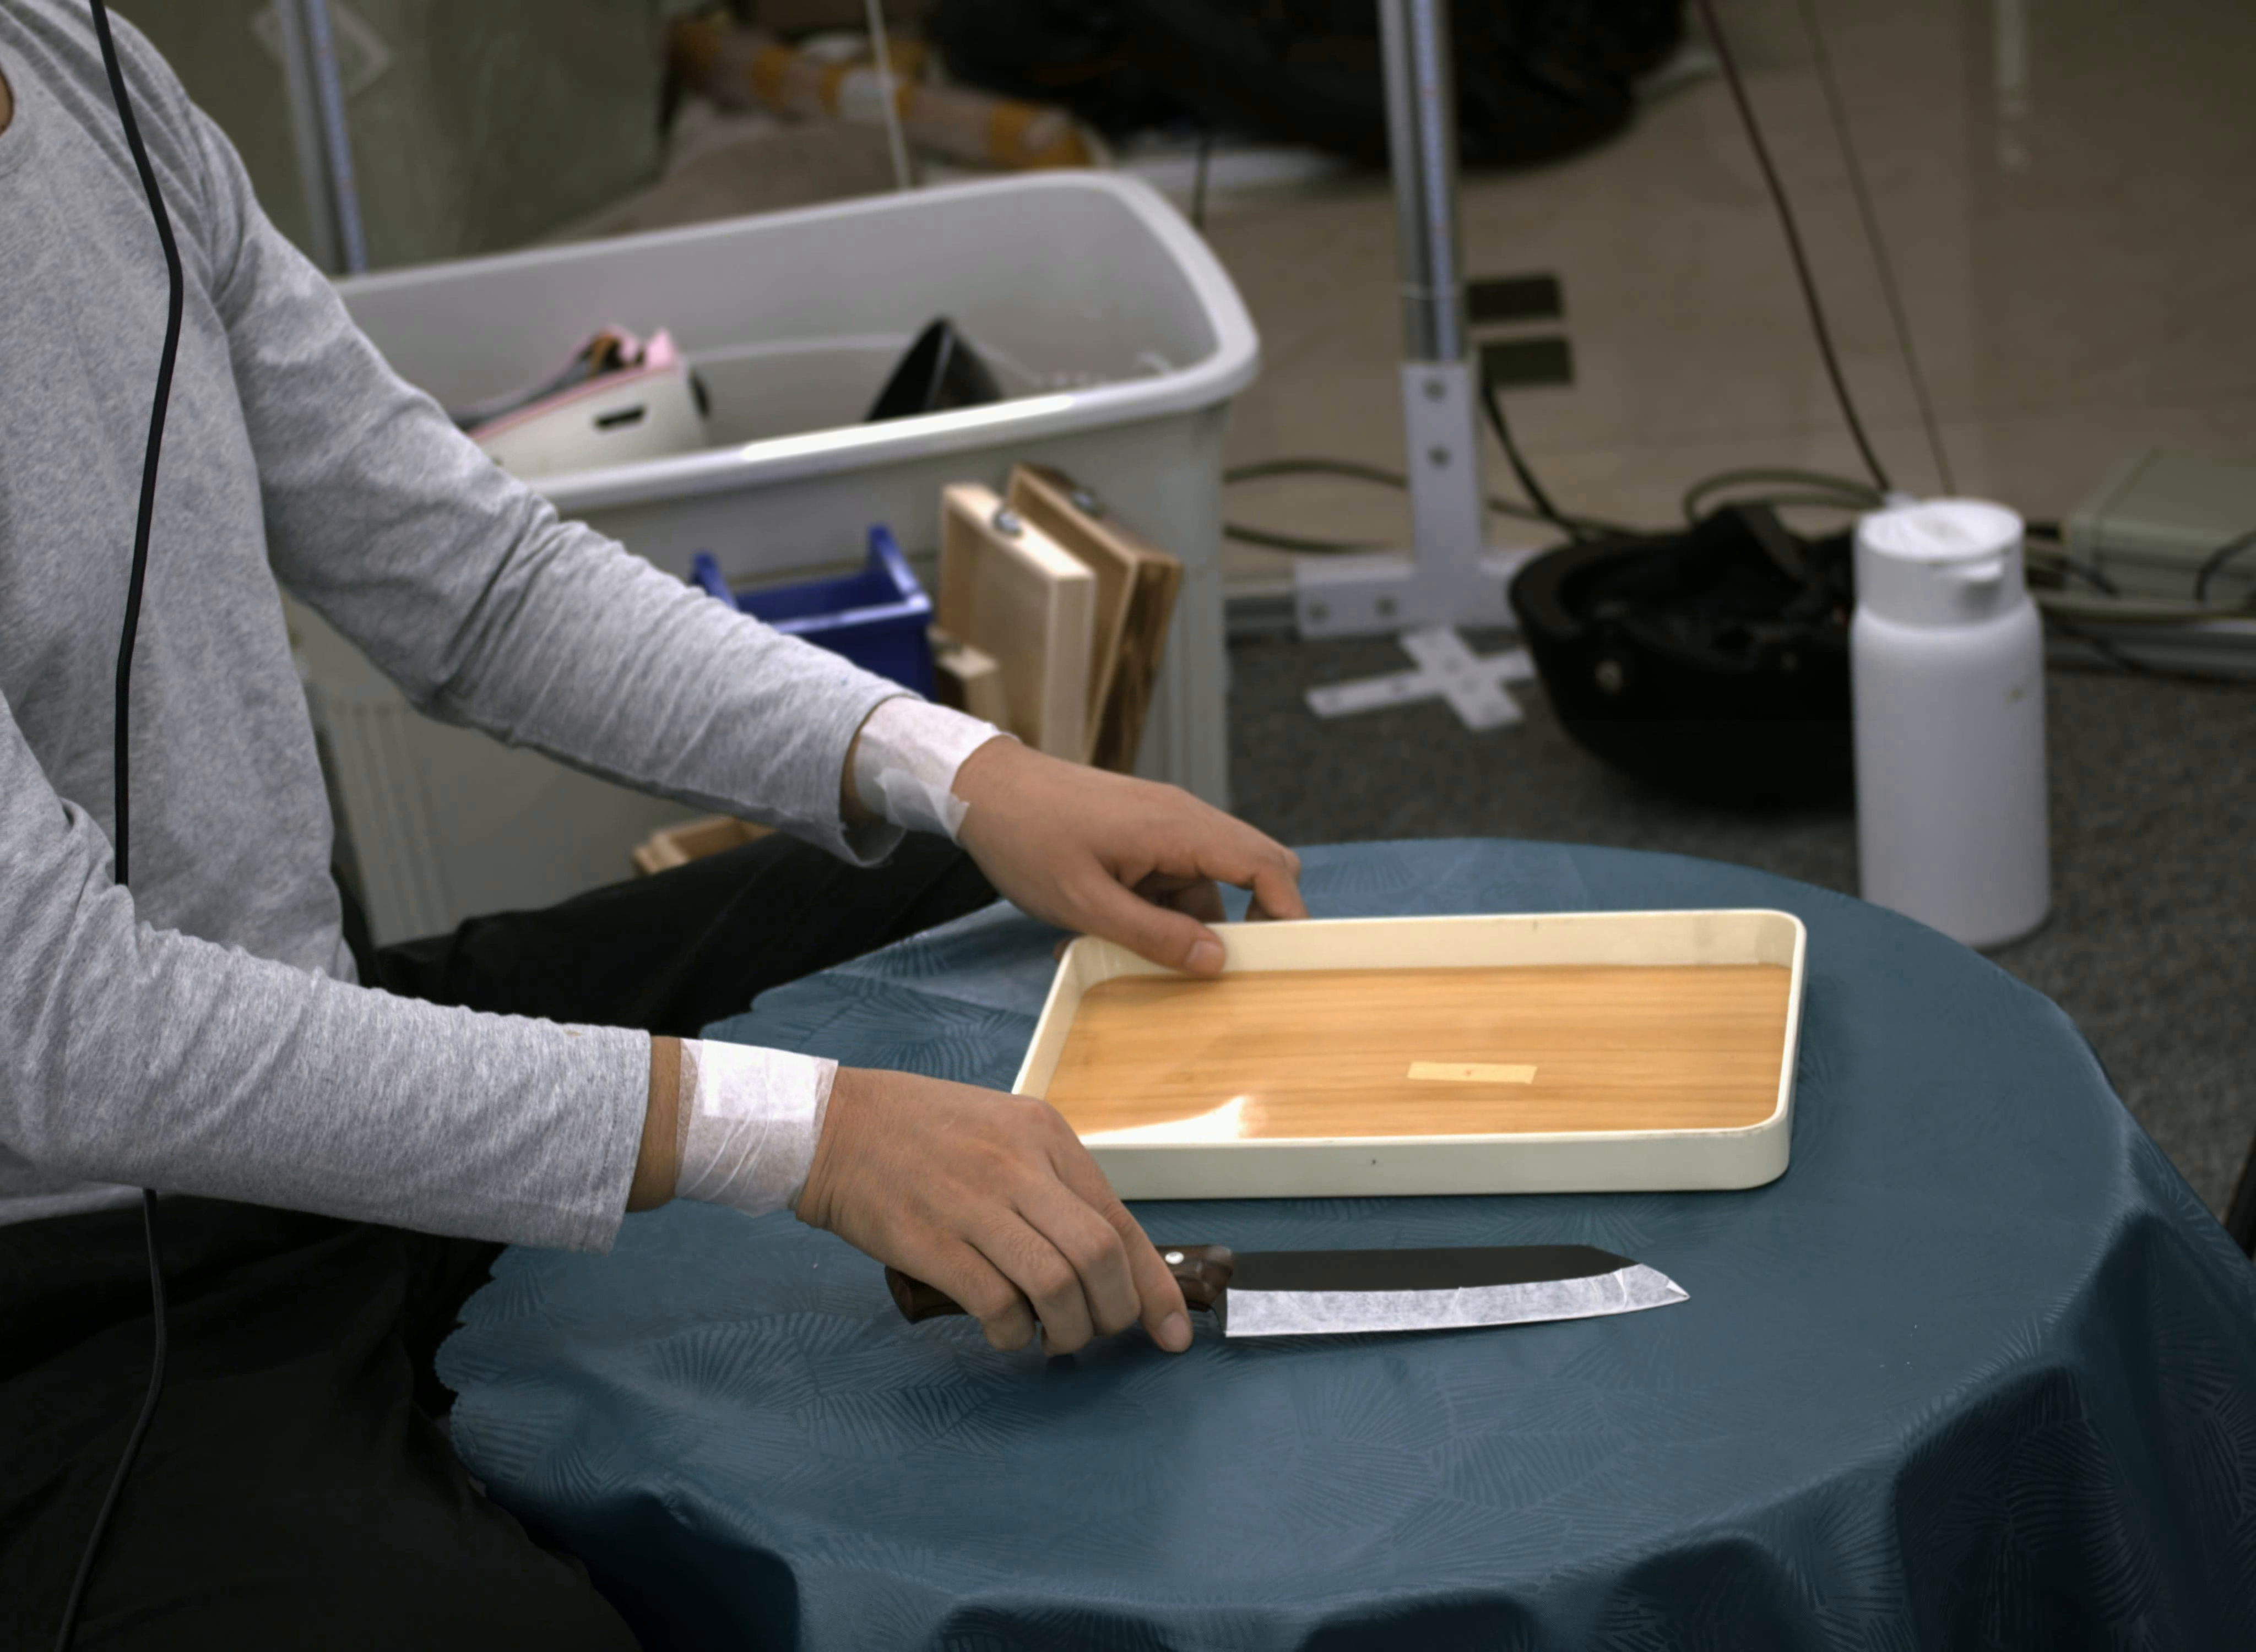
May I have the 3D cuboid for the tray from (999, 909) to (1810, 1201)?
[{"bbox_3d":[0.111,0.088,2.202,0.300,0.028,0.189,-2,25,11],"label":"tray"}]

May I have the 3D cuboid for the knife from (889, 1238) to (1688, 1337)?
[{"bbox_3d":[0.057,0.166,2.046,0.288,0.020,0.049,0,40,3],"label":"knife"}]
